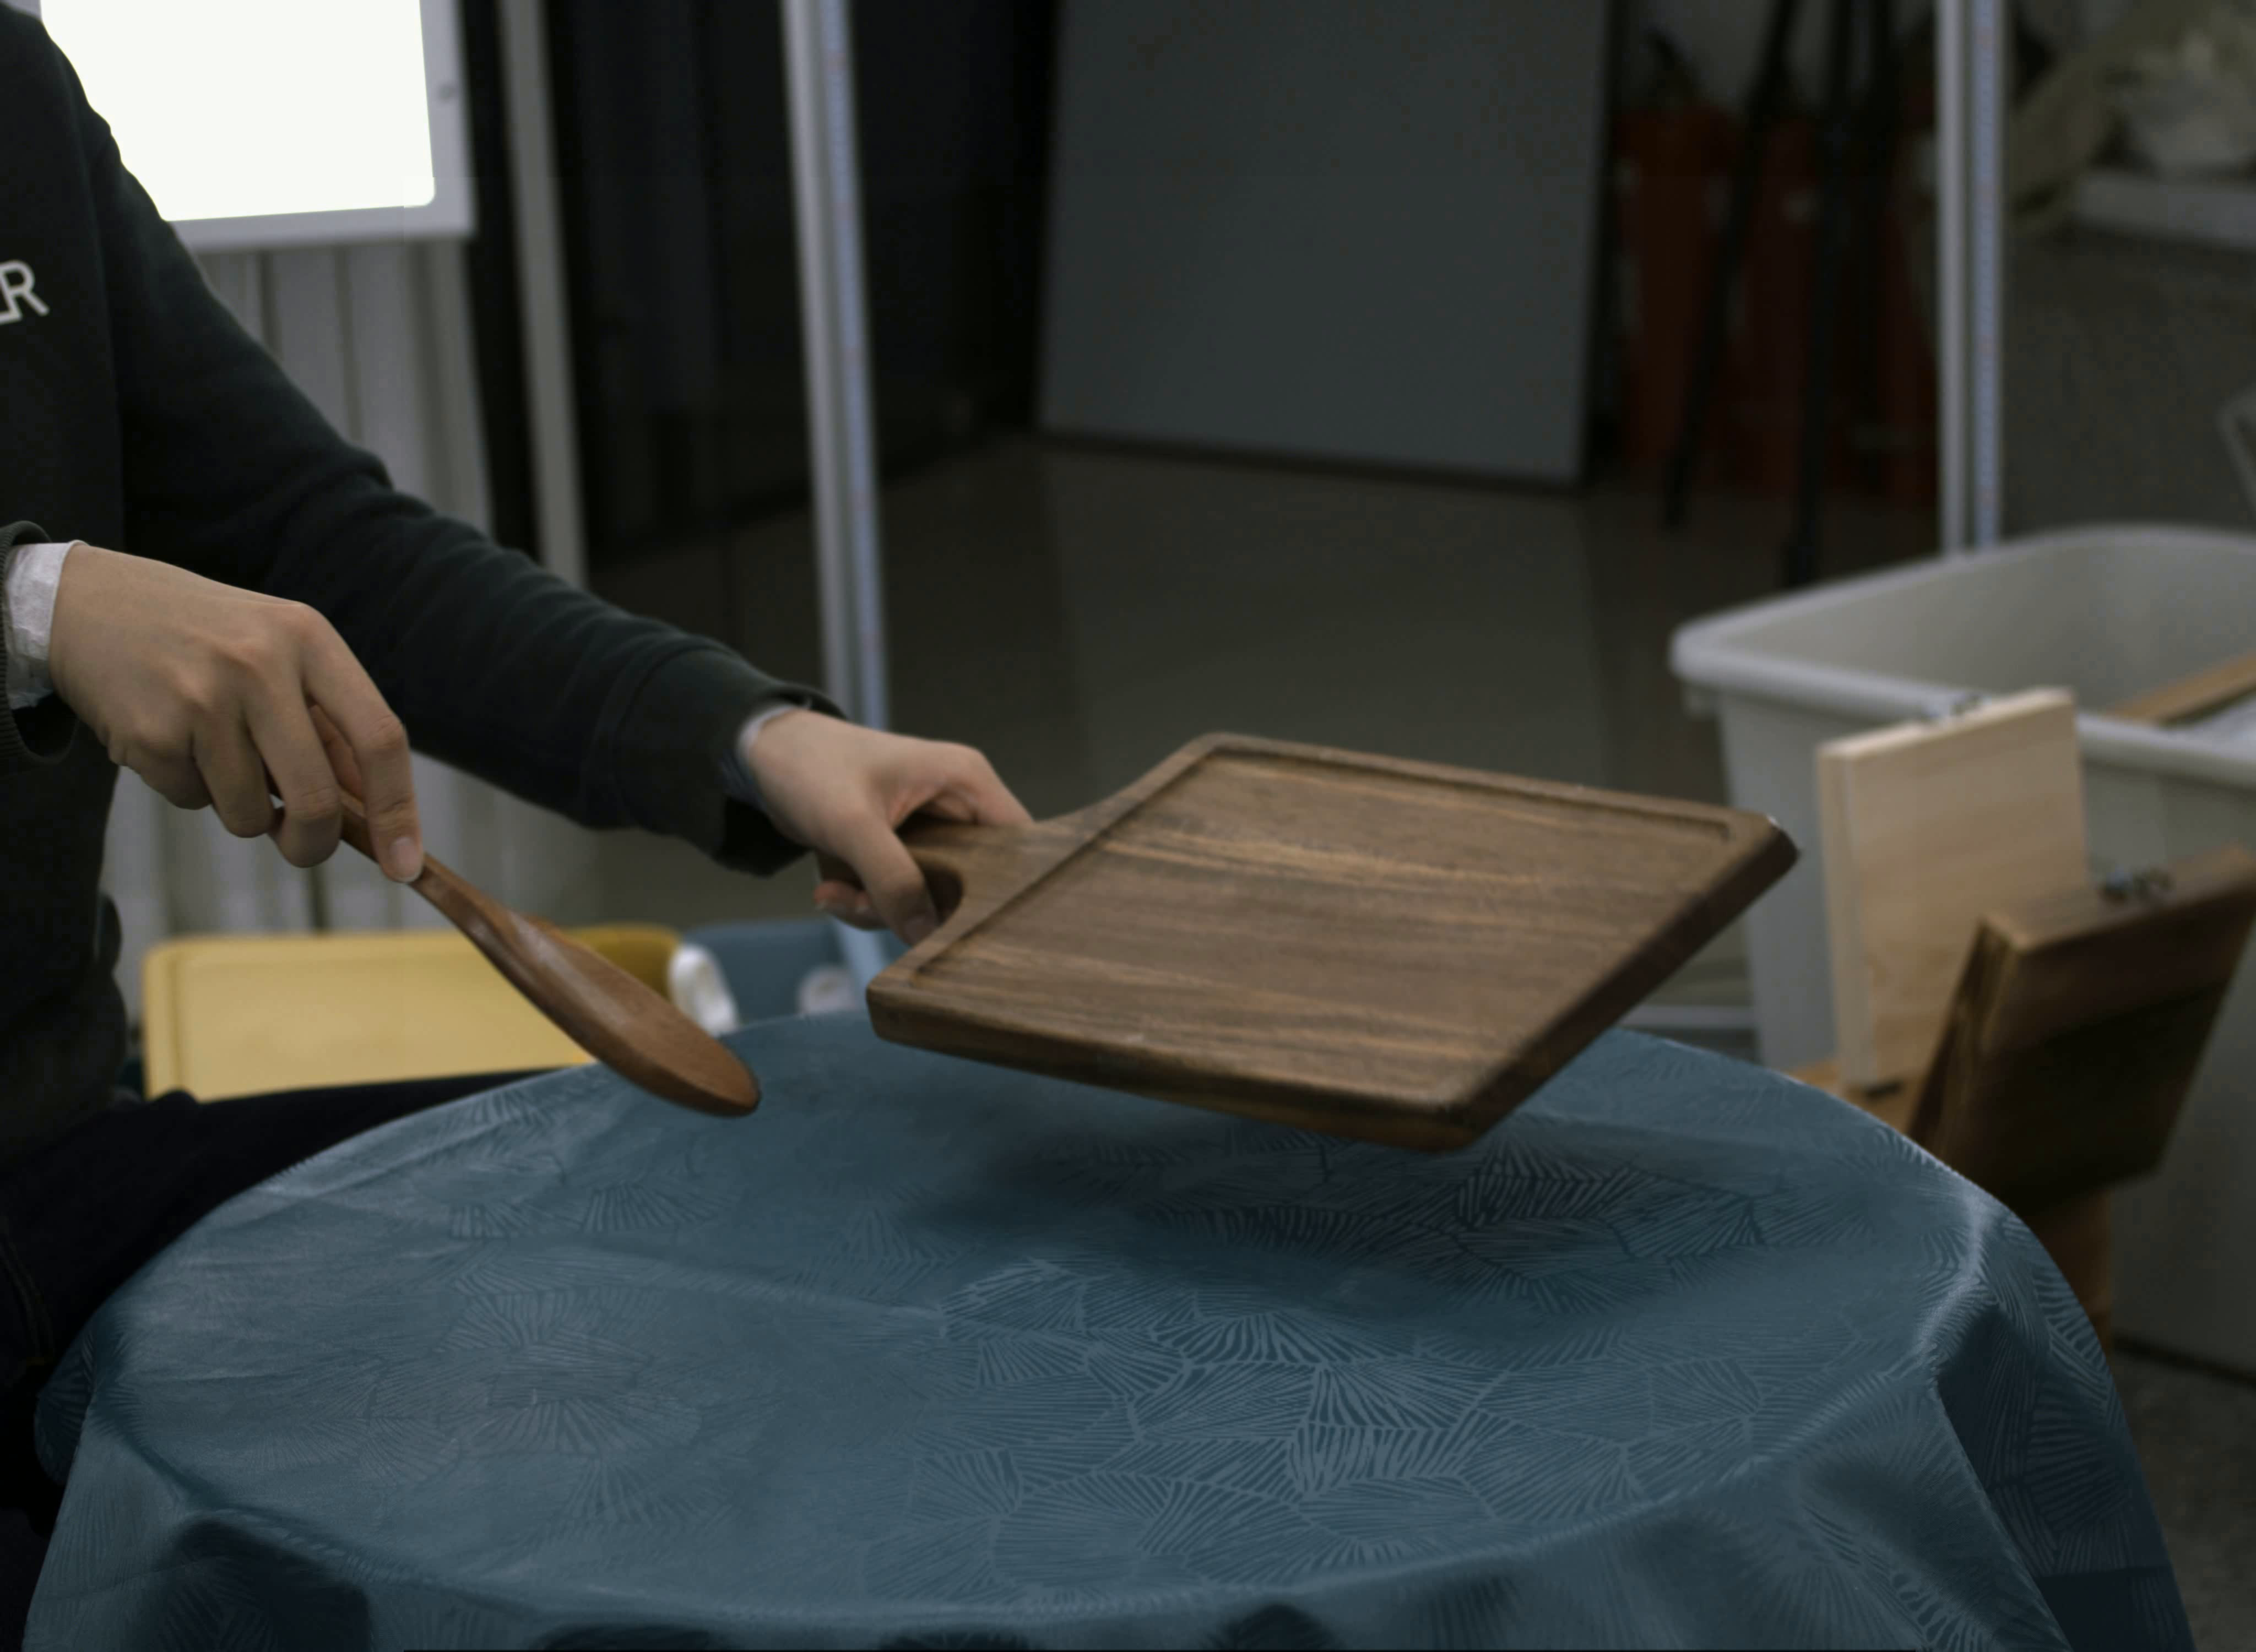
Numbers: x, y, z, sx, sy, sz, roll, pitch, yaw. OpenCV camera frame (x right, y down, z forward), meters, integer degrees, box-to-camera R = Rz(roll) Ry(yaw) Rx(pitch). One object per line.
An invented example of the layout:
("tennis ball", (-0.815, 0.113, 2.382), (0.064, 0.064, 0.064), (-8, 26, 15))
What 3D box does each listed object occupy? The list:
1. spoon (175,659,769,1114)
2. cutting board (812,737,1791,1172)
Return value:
("spoon", (-0.194, 0.020, 1.595), (0.216, 0.017, 0.075), (38, 11, 7))
("cutting board", (0.028, 0.031, 1.796), (0.355, 0.023, 0.198), (9, 35, 41))
